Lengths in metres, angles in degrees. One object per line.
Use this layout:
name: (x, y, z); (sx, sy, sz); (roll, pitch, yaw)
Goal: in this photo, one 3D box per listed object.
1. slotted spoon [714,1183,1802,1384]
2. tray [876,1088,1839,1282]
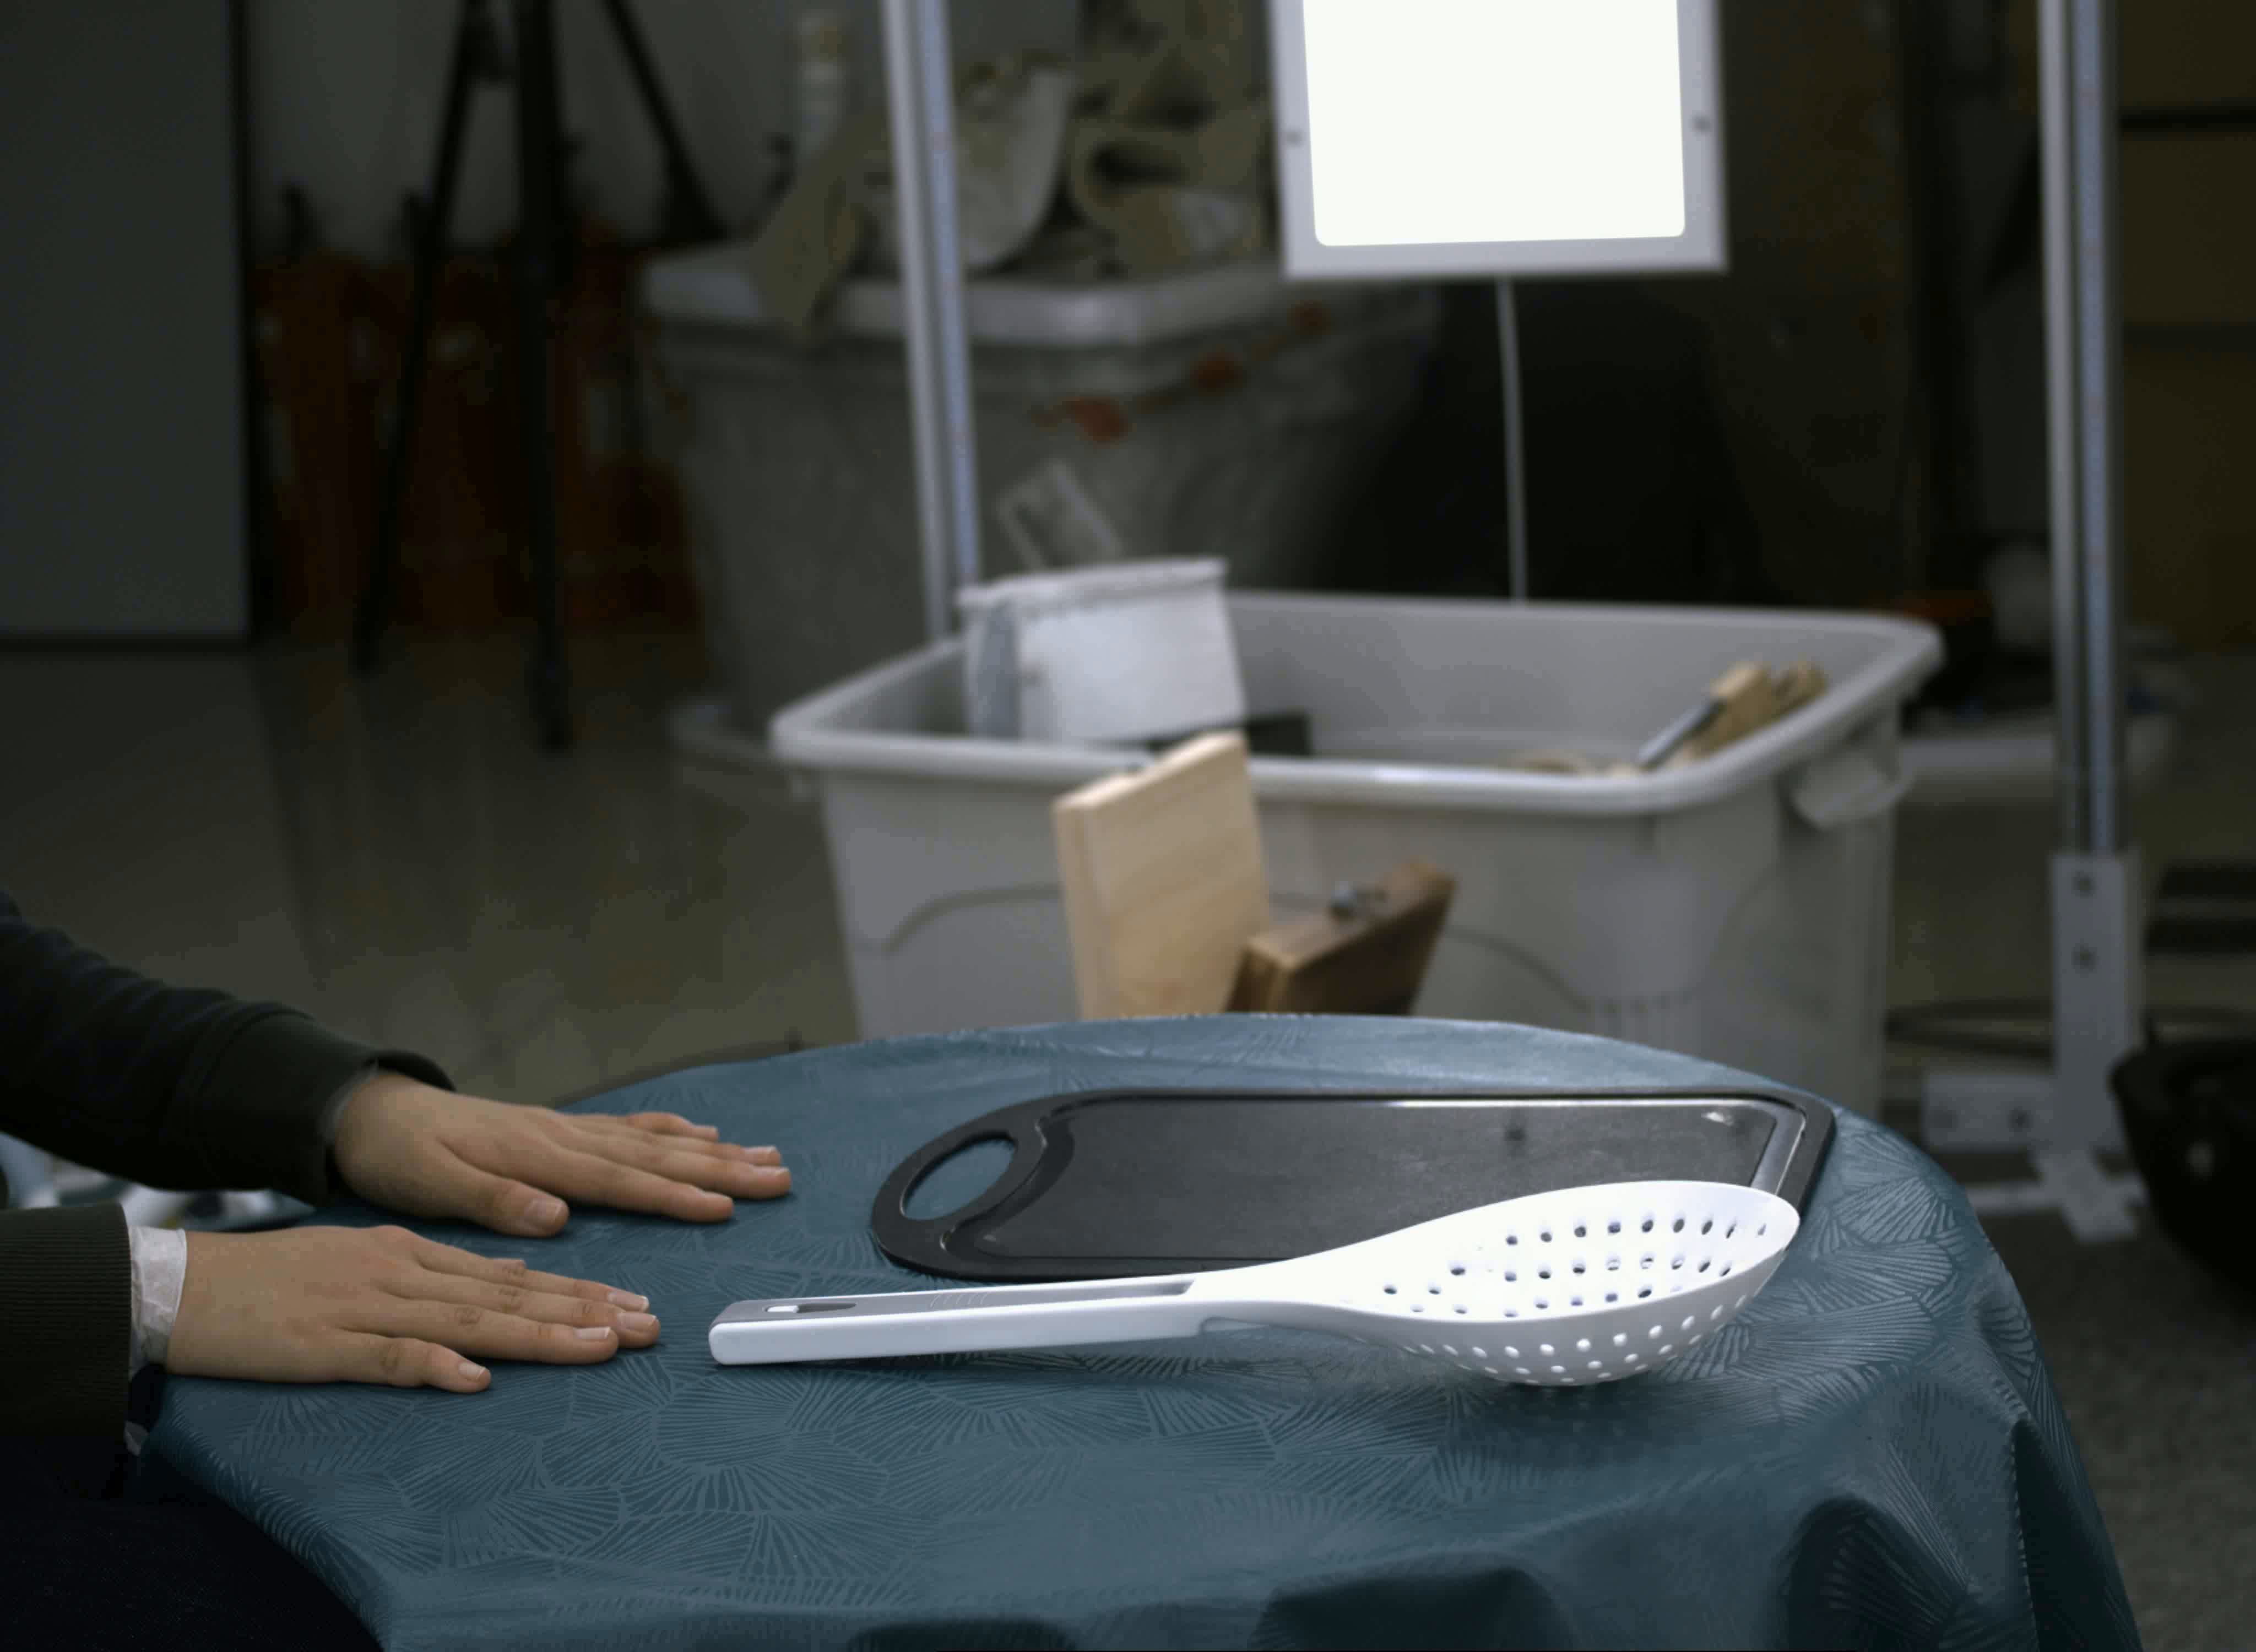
slotted spoon: (0.036, 0.146, 1.708); (0.354, 0.046, 0.134); (-1, 12, 18)
tray: (0.075, 0.120, 1.883); (0.329, 0.010, 0.208); (-1, 14, 17)
